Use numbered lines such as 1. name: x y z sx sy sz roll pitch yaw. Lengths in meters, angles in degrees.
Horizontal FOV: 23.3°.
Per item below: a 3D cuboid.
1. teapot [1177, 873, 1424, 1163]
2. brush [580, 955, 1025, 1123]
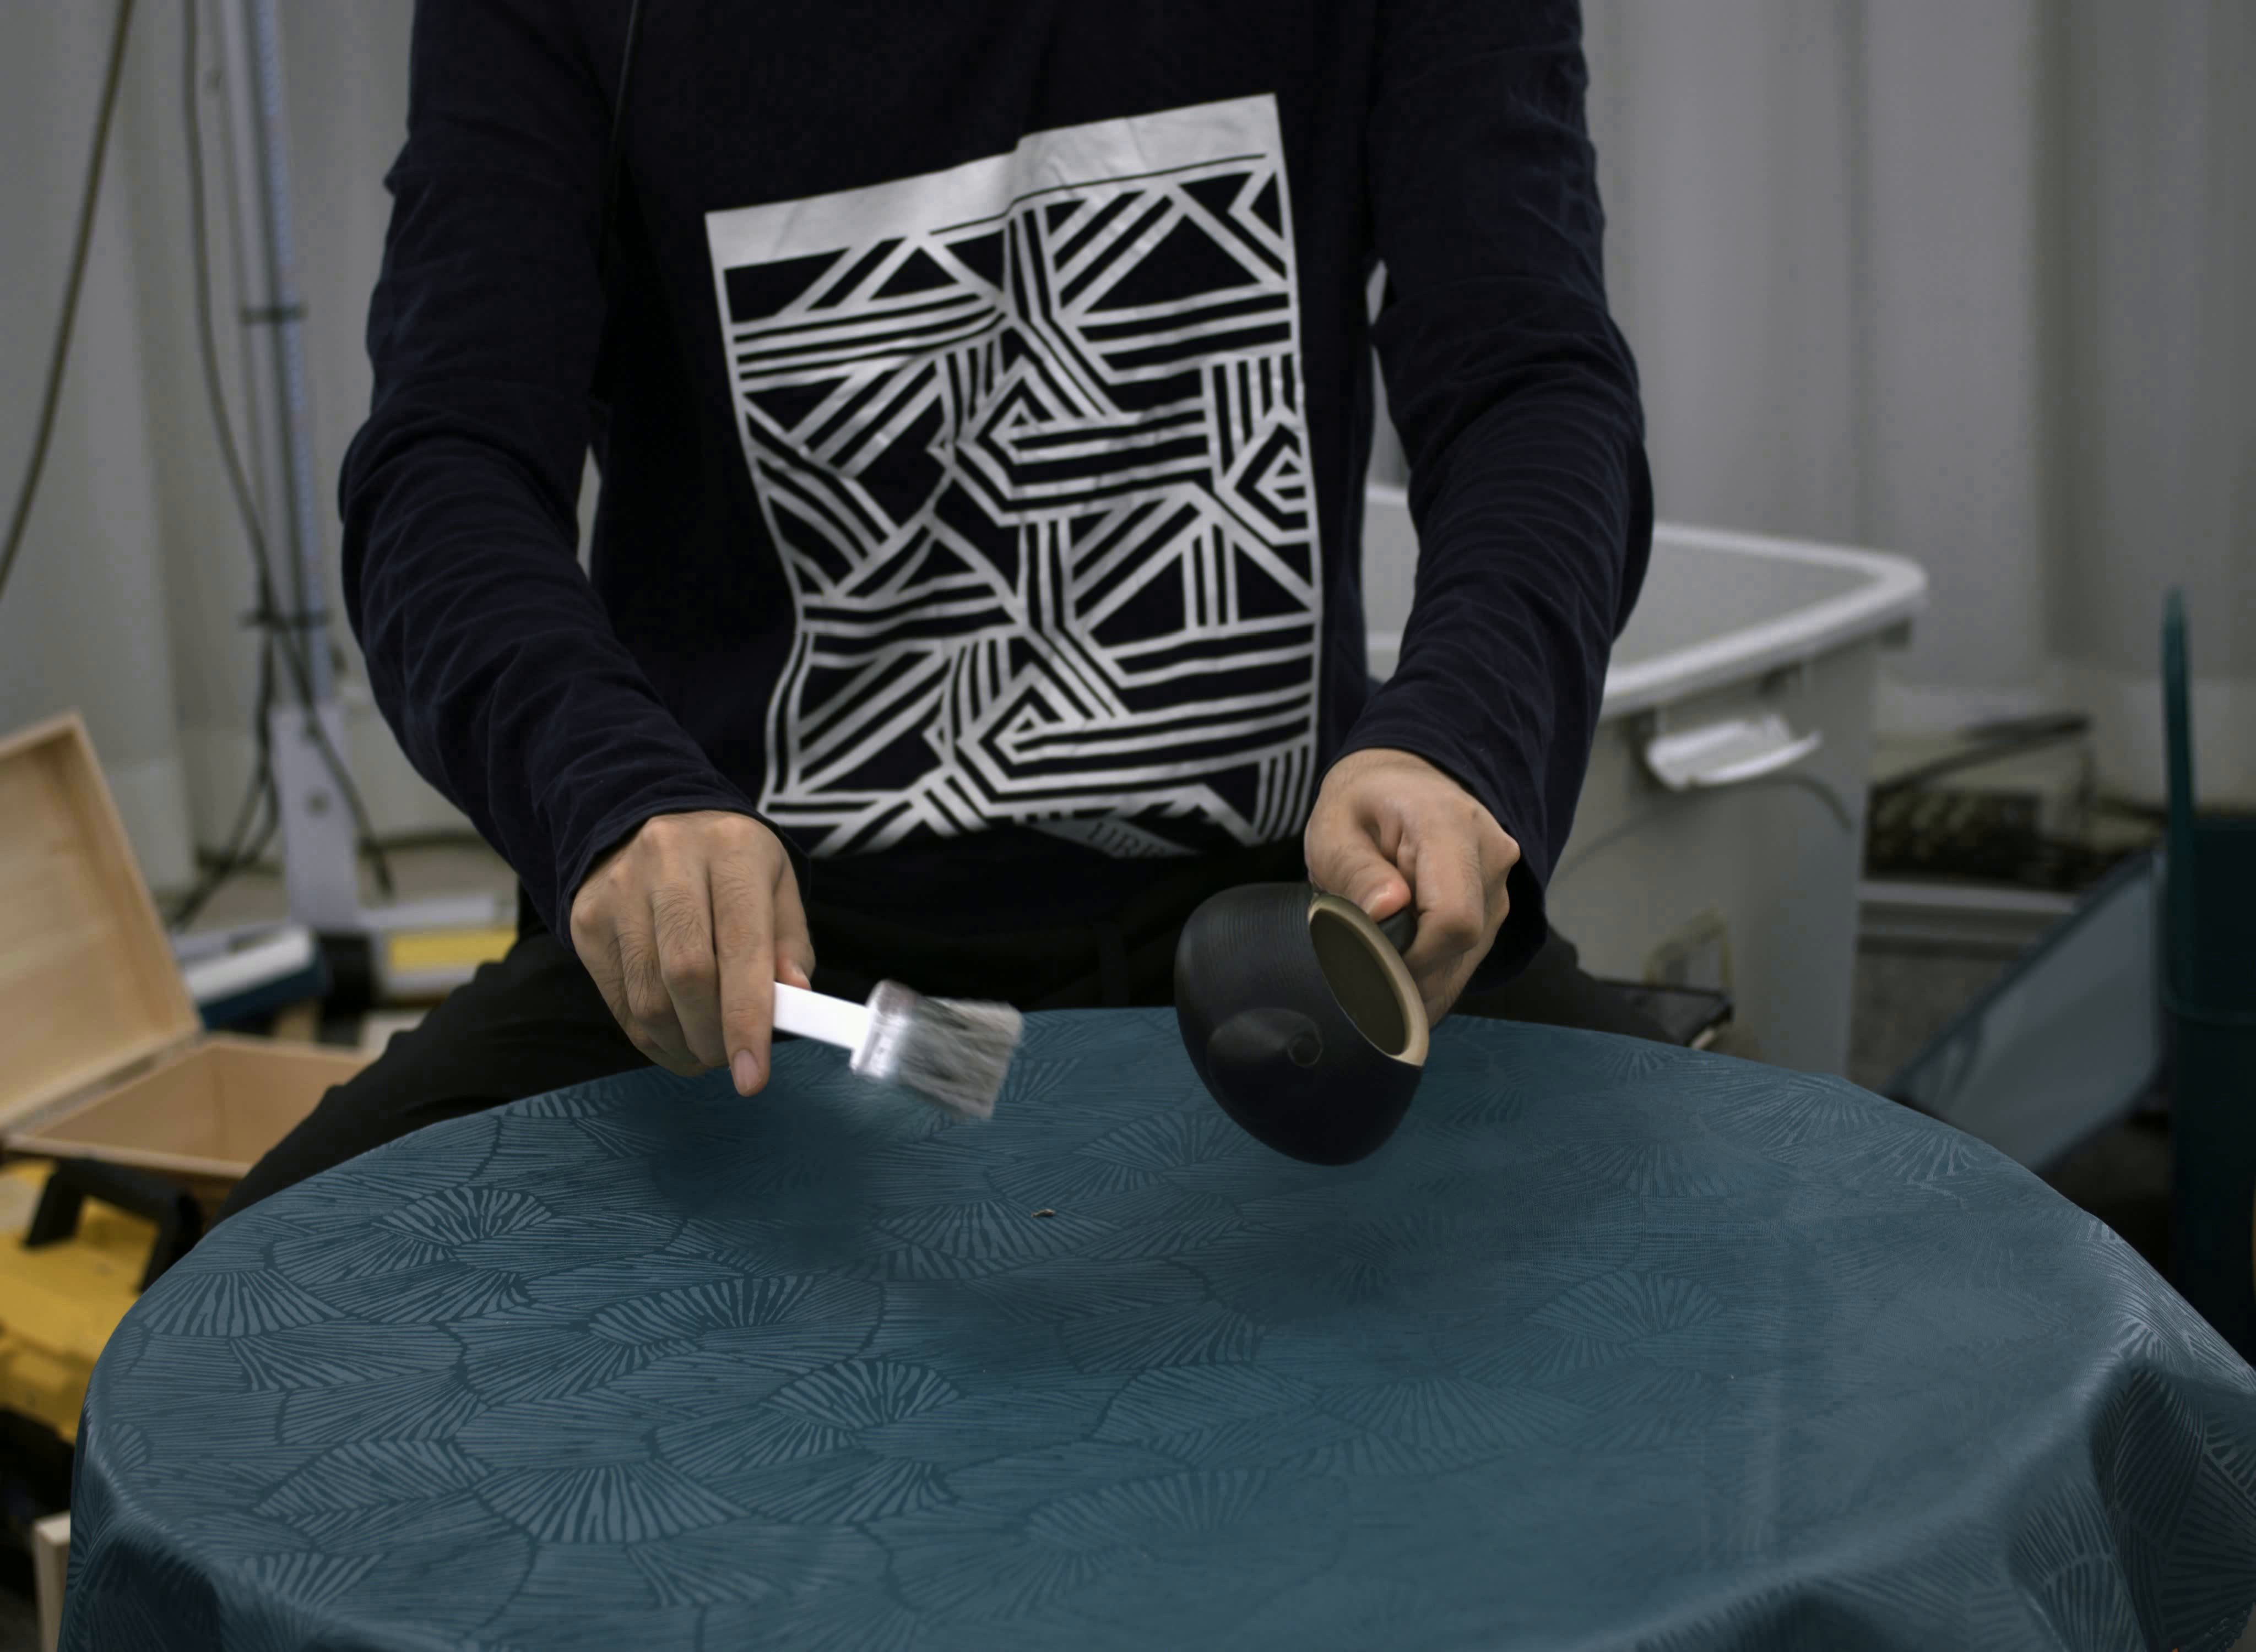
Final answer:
1. teapot: 0.051 0.056 1.632 0.053 0.091 0.134 -28 7 25
2. brush: -0.100 0.064 1.692 0.050 0.034 0.244 24 -10 -28
